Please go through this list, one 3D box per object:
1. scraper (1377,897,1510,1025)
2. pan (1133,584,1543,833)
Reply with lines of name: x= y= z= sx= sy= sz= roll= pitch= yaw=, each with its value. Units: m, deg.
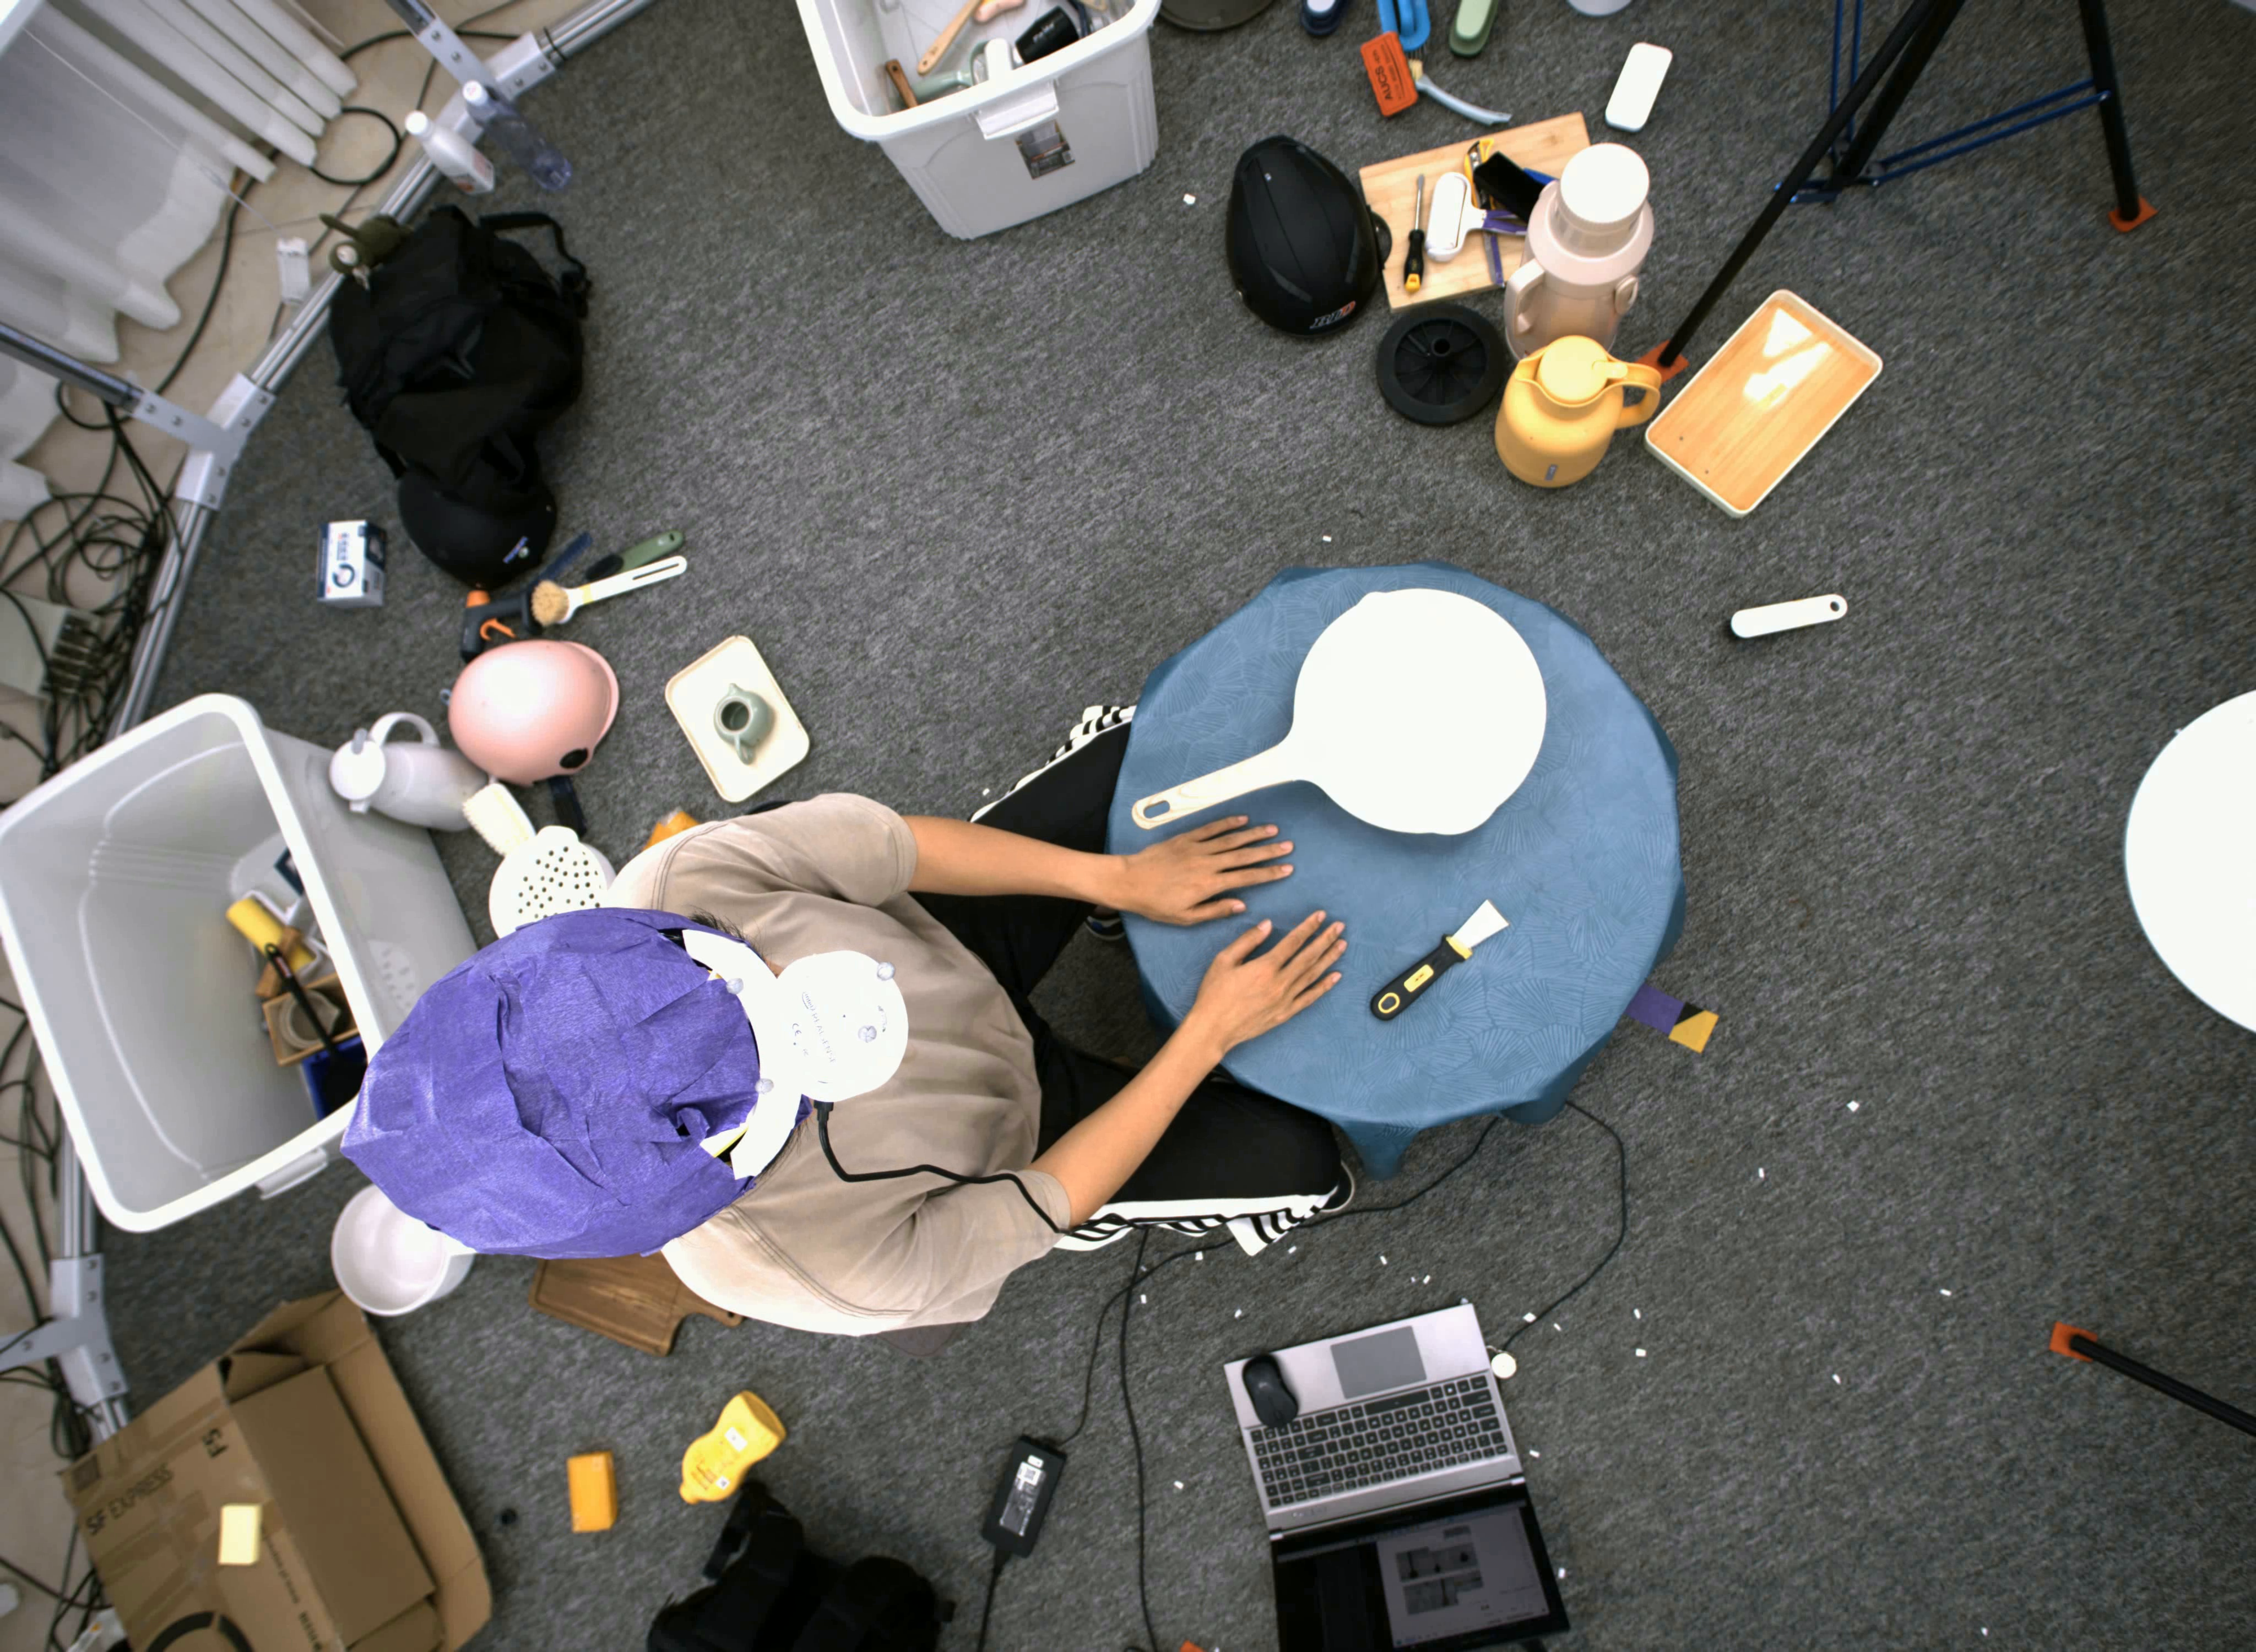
scraper: x=0.326 y=0.142 z=1.439 sx=0.171 sy=0.015 sz=0.039 roll=-43 pitch=84 yaw=3
pan: x=0.212 y=-0.086 z=1.435 sx=0.437 sy=0.102 sz=0.262 roll=-22 pitch=85 yaw=8
